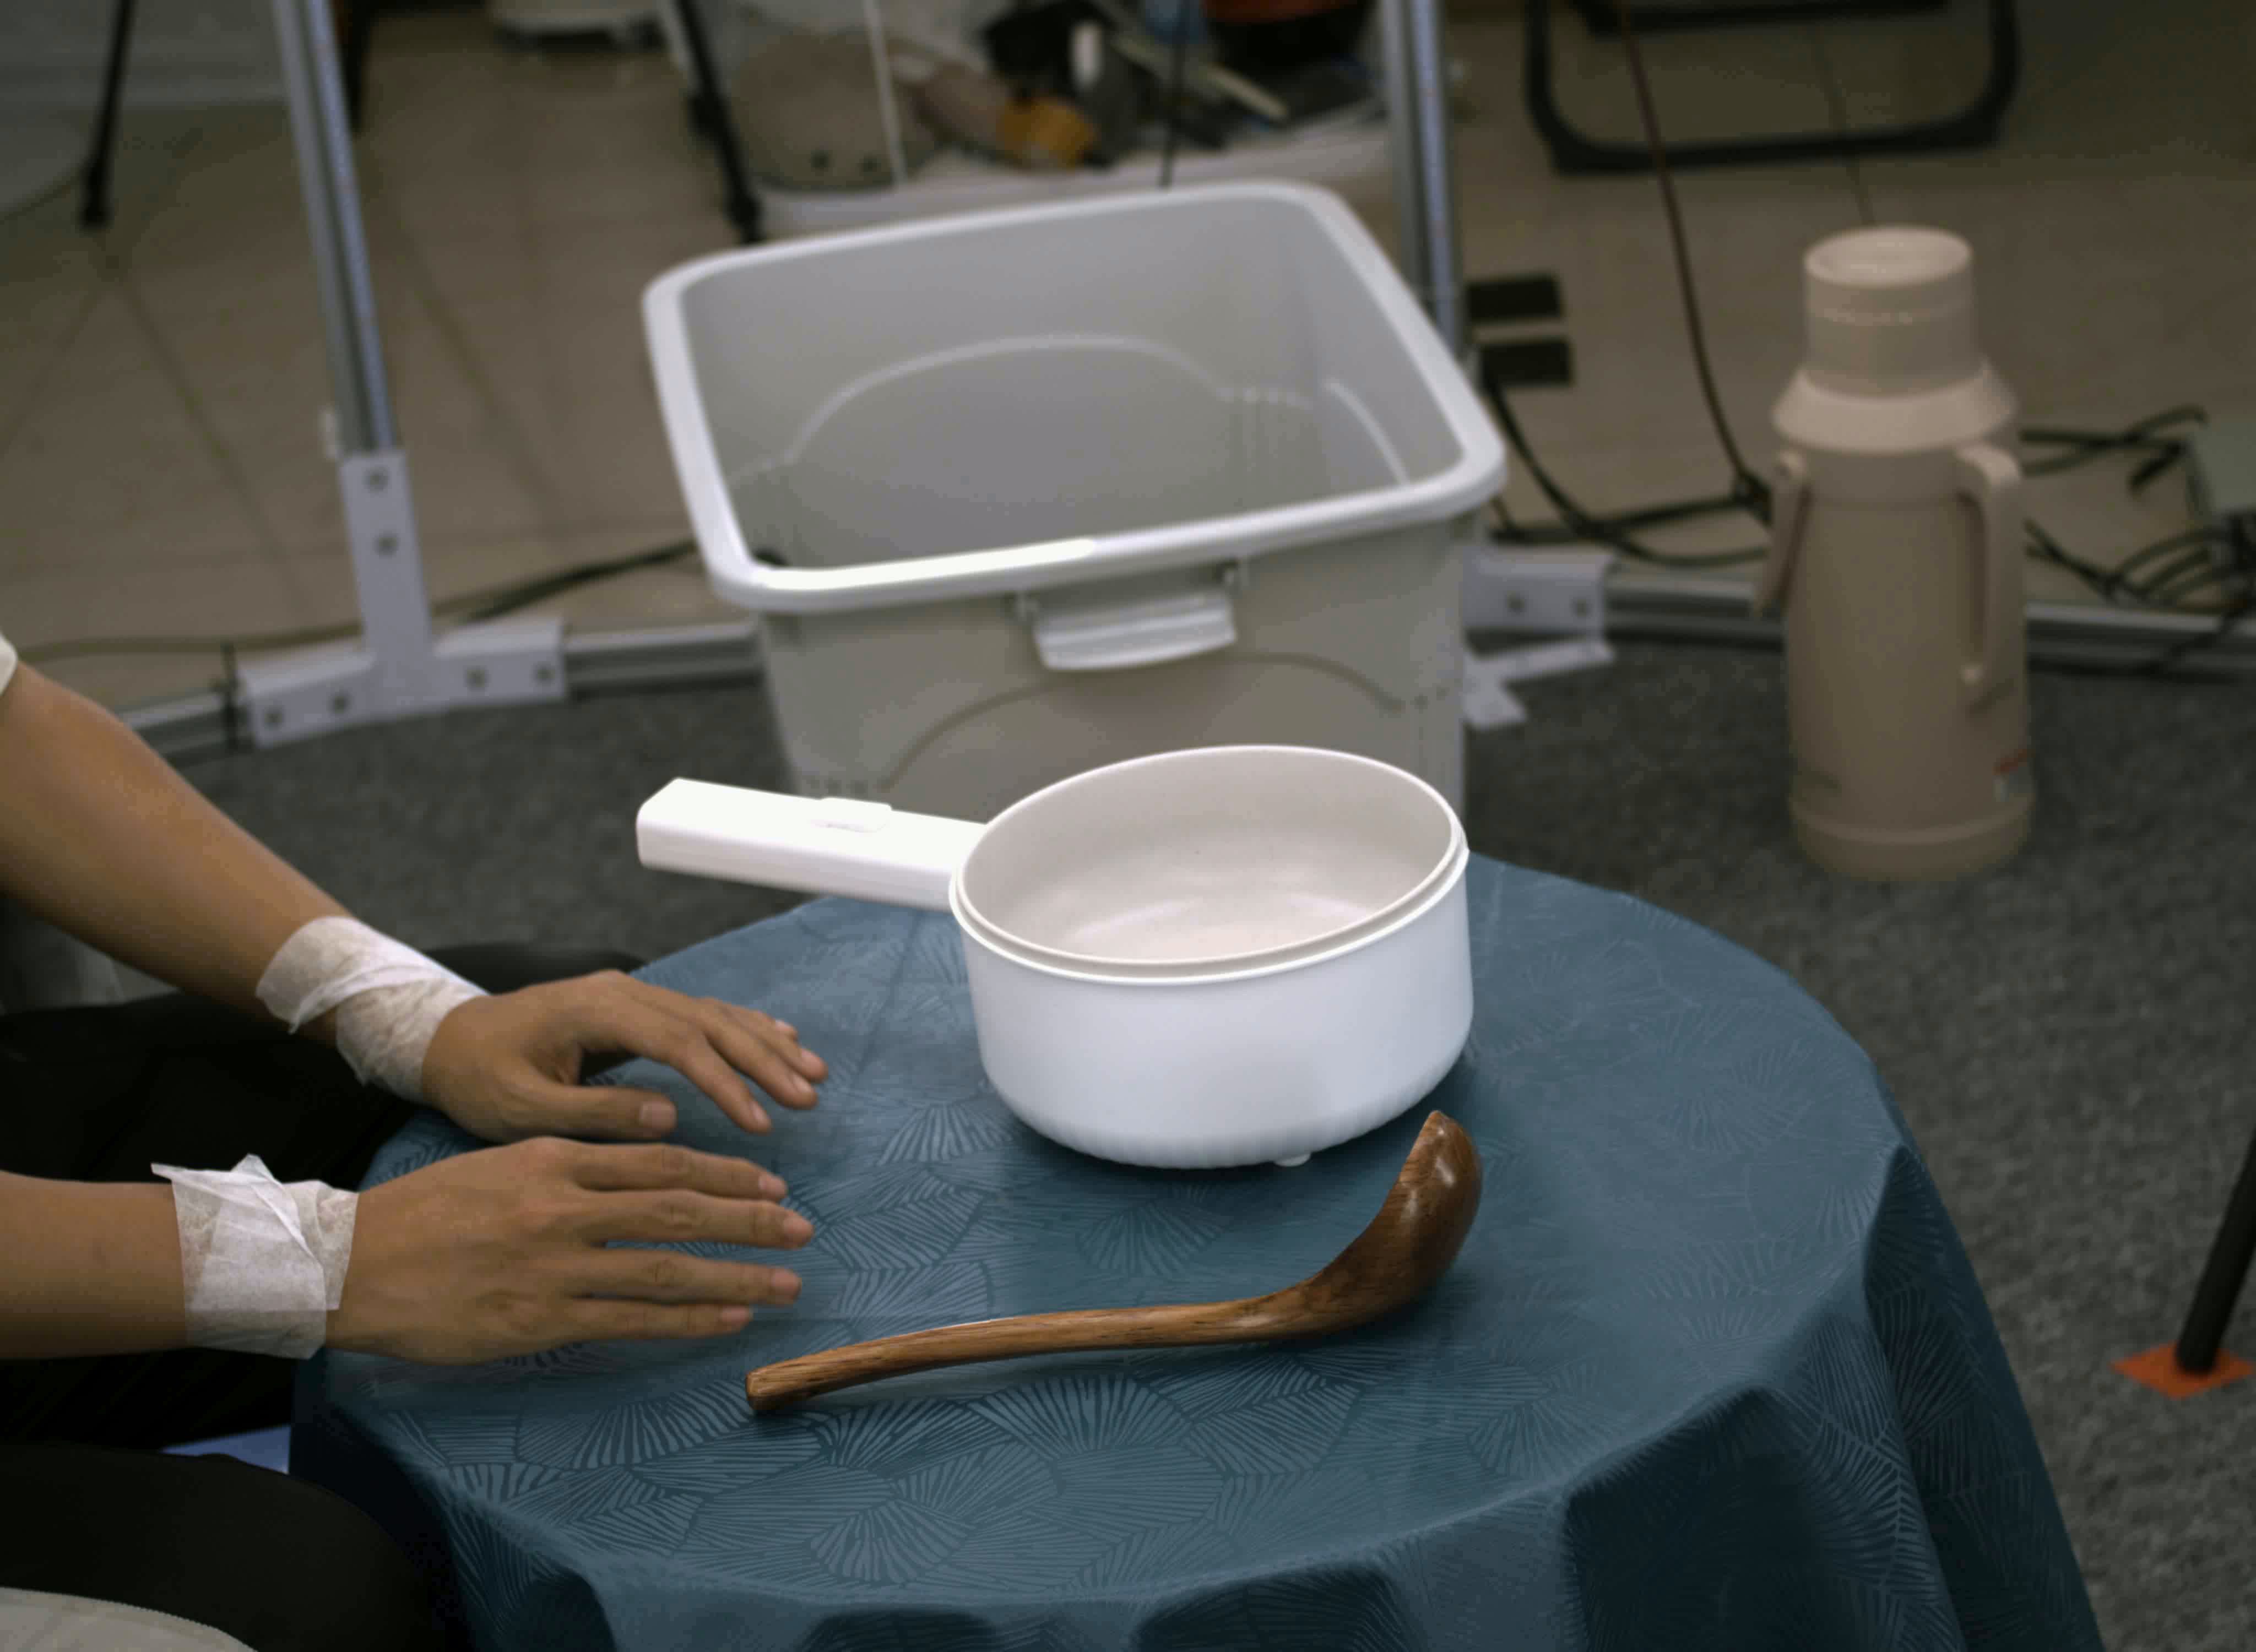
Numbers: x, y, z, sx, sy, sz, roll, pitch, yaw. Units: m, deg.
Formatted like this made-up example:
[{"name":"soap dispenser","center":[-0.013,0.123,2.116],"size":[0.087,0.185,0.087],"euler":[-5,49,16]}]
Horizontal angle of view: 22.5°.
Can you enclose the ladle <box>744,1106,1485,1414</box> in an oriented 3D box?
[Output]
[{"name":"ladle","center":[-0.006,0.154,2.038],"size":[0.273,0.083,0.076],"euler":[-8,69,3]}]

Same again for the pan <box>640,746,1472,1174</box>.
[{"name":"pan","center":[-0.032,0.048,2.239],"size":[0.353,0.104,0.198],"euler":[7,29,28]}]
